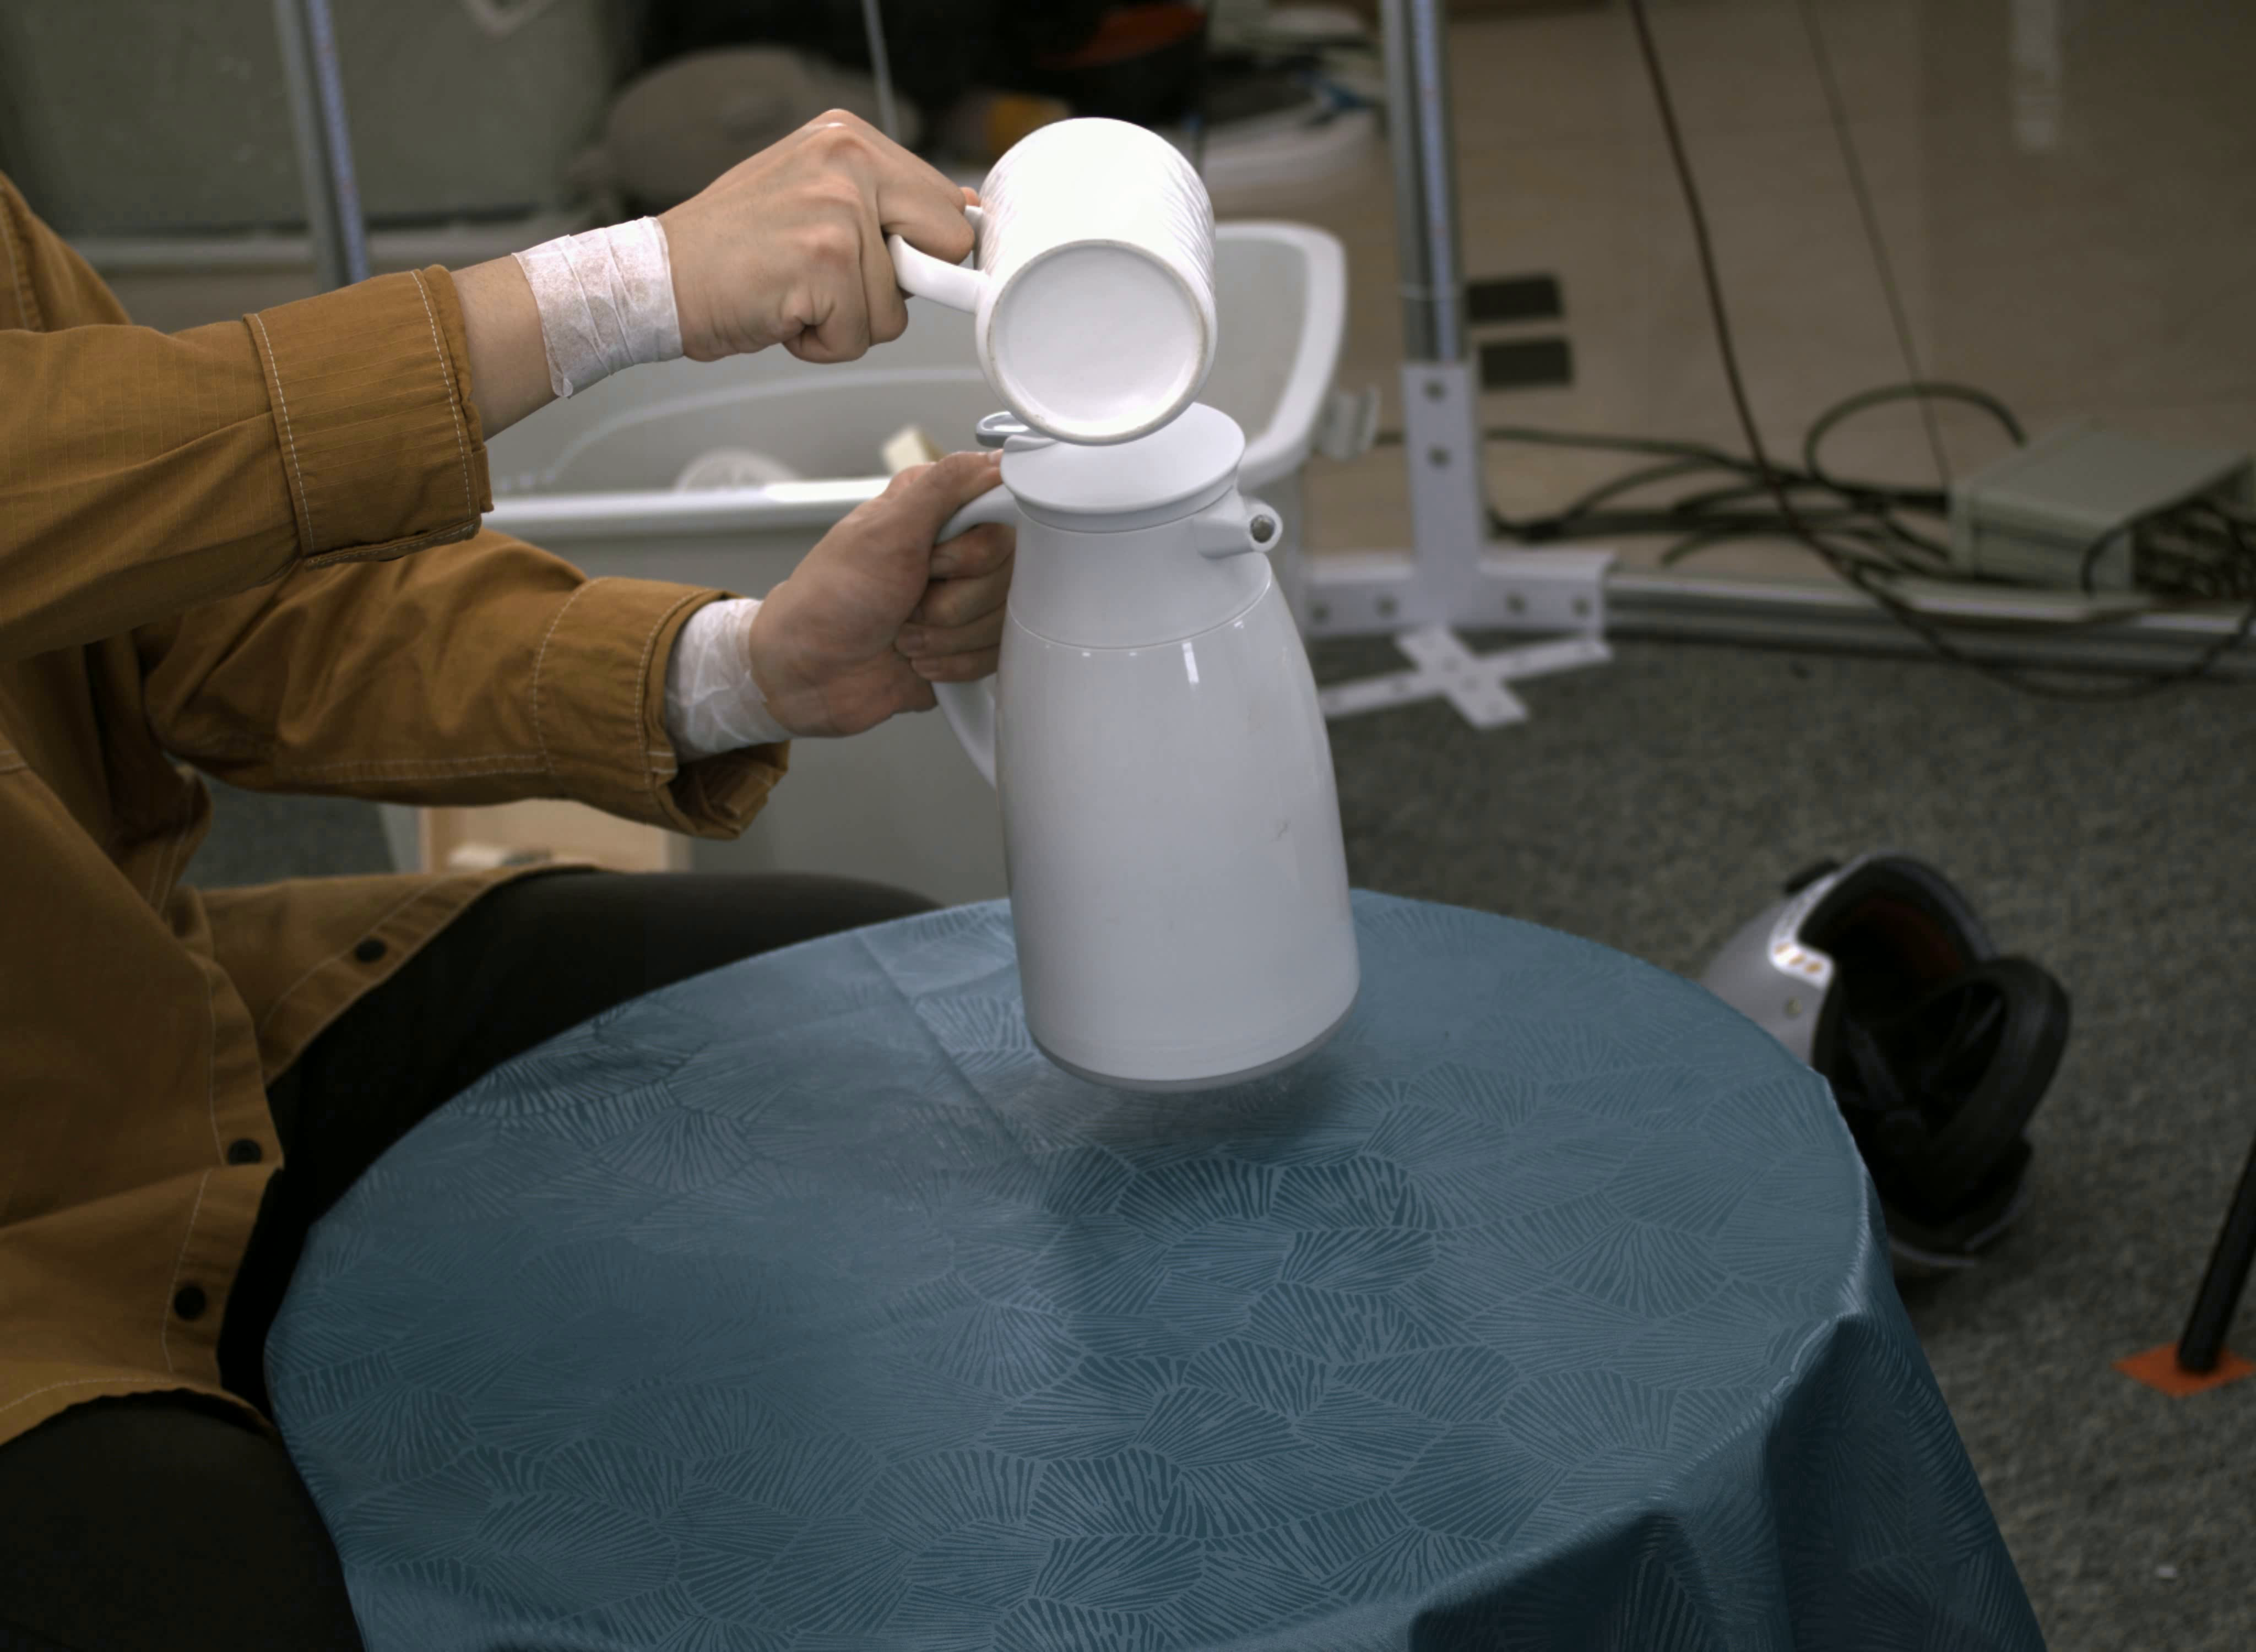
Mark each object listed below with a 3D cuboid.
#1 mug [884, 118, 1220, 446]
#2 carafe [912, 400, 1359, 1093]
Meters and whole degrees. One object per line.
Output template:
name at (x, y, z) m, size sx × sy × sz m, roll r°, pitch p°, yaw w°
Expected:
mug at (-0.026, -0.192, 1.963) m, size 0.118 × 0.086 × 0.100 m, roll 10°, pitch 28°, yaw -7°
carafe at (-0.006, -0.040, 2.150) m, size 0.167 × 0.253 × 0.131 m, roll 13°, pitch 37°, yaw 31°
